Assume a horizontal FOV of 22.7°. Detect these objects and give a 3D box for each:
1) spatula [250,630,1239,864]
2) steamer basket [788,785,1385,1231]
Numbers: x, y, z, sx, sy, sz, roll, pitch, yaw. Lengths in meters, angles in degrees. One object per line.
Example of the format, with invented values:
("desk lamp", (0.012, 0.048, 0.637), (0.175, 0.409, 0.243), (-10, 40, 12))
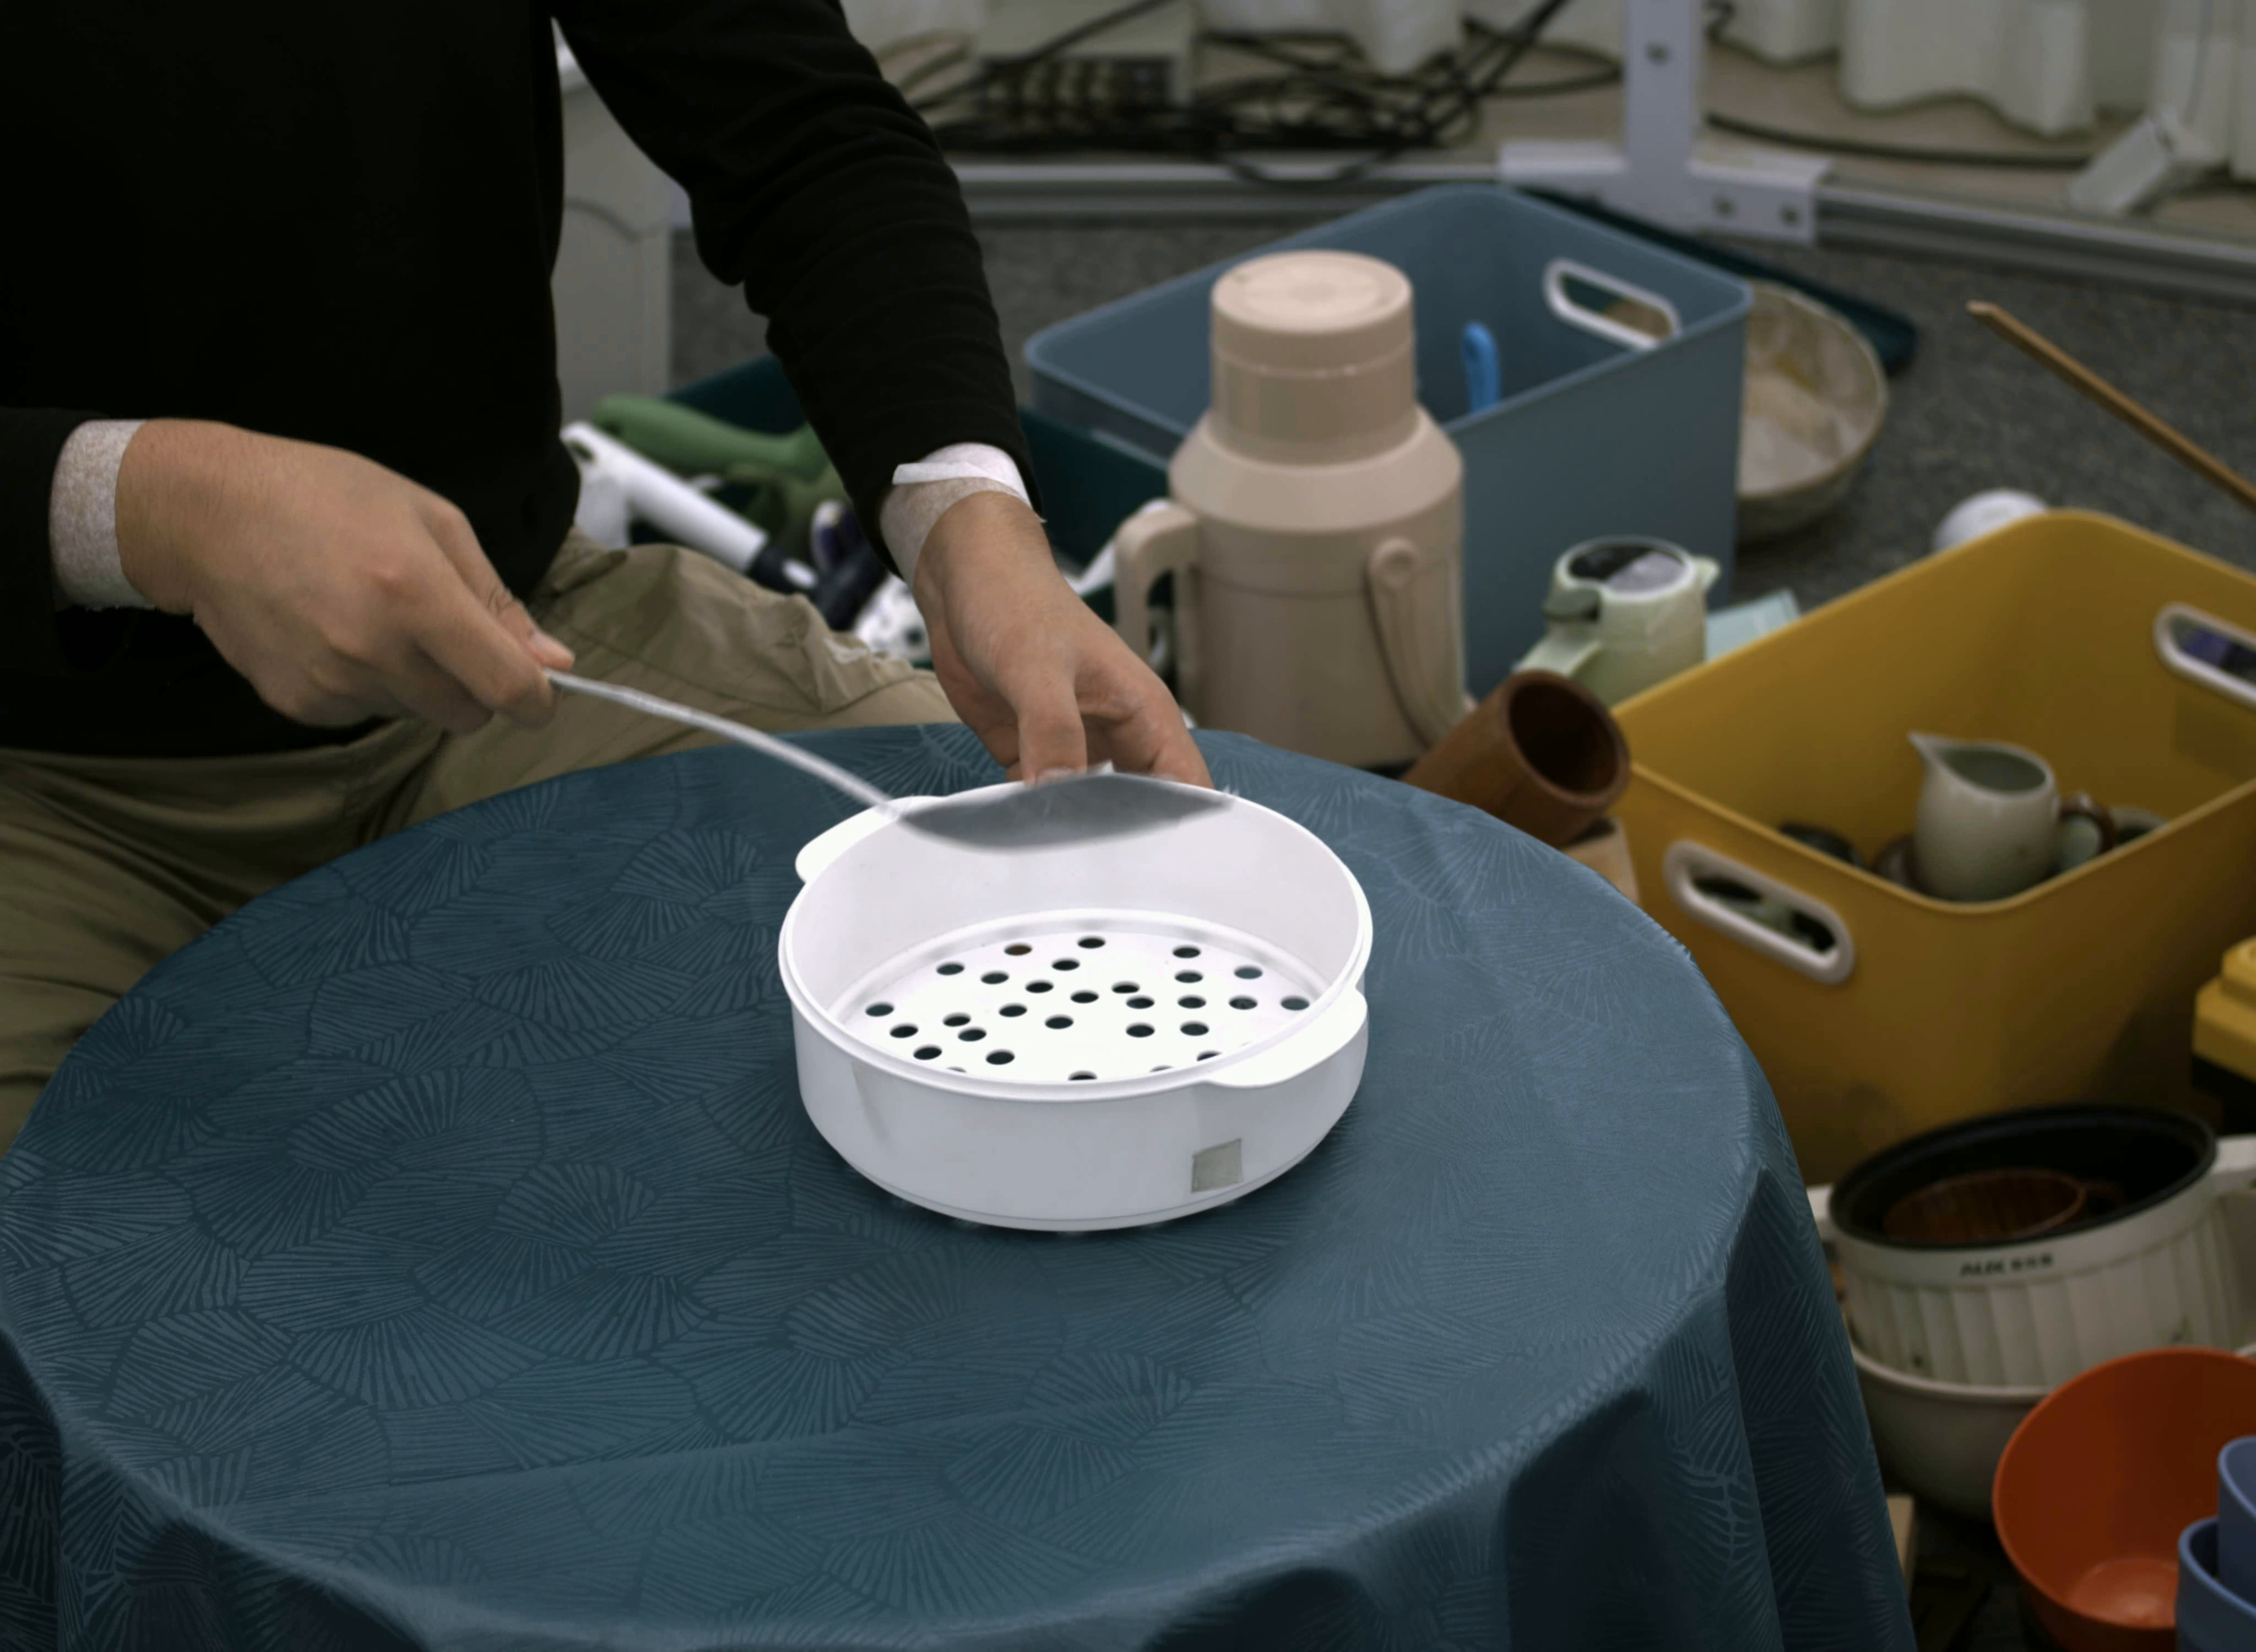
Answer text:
("spatula", (-0.137, -0.034, 1.811), (0.363, 0.045, 0.099), (17, 2, 25))
("steamer basket", (-0.013, 0.062, 1.897), (0.230, 0.068, 0.204), (24, 38, 39))
